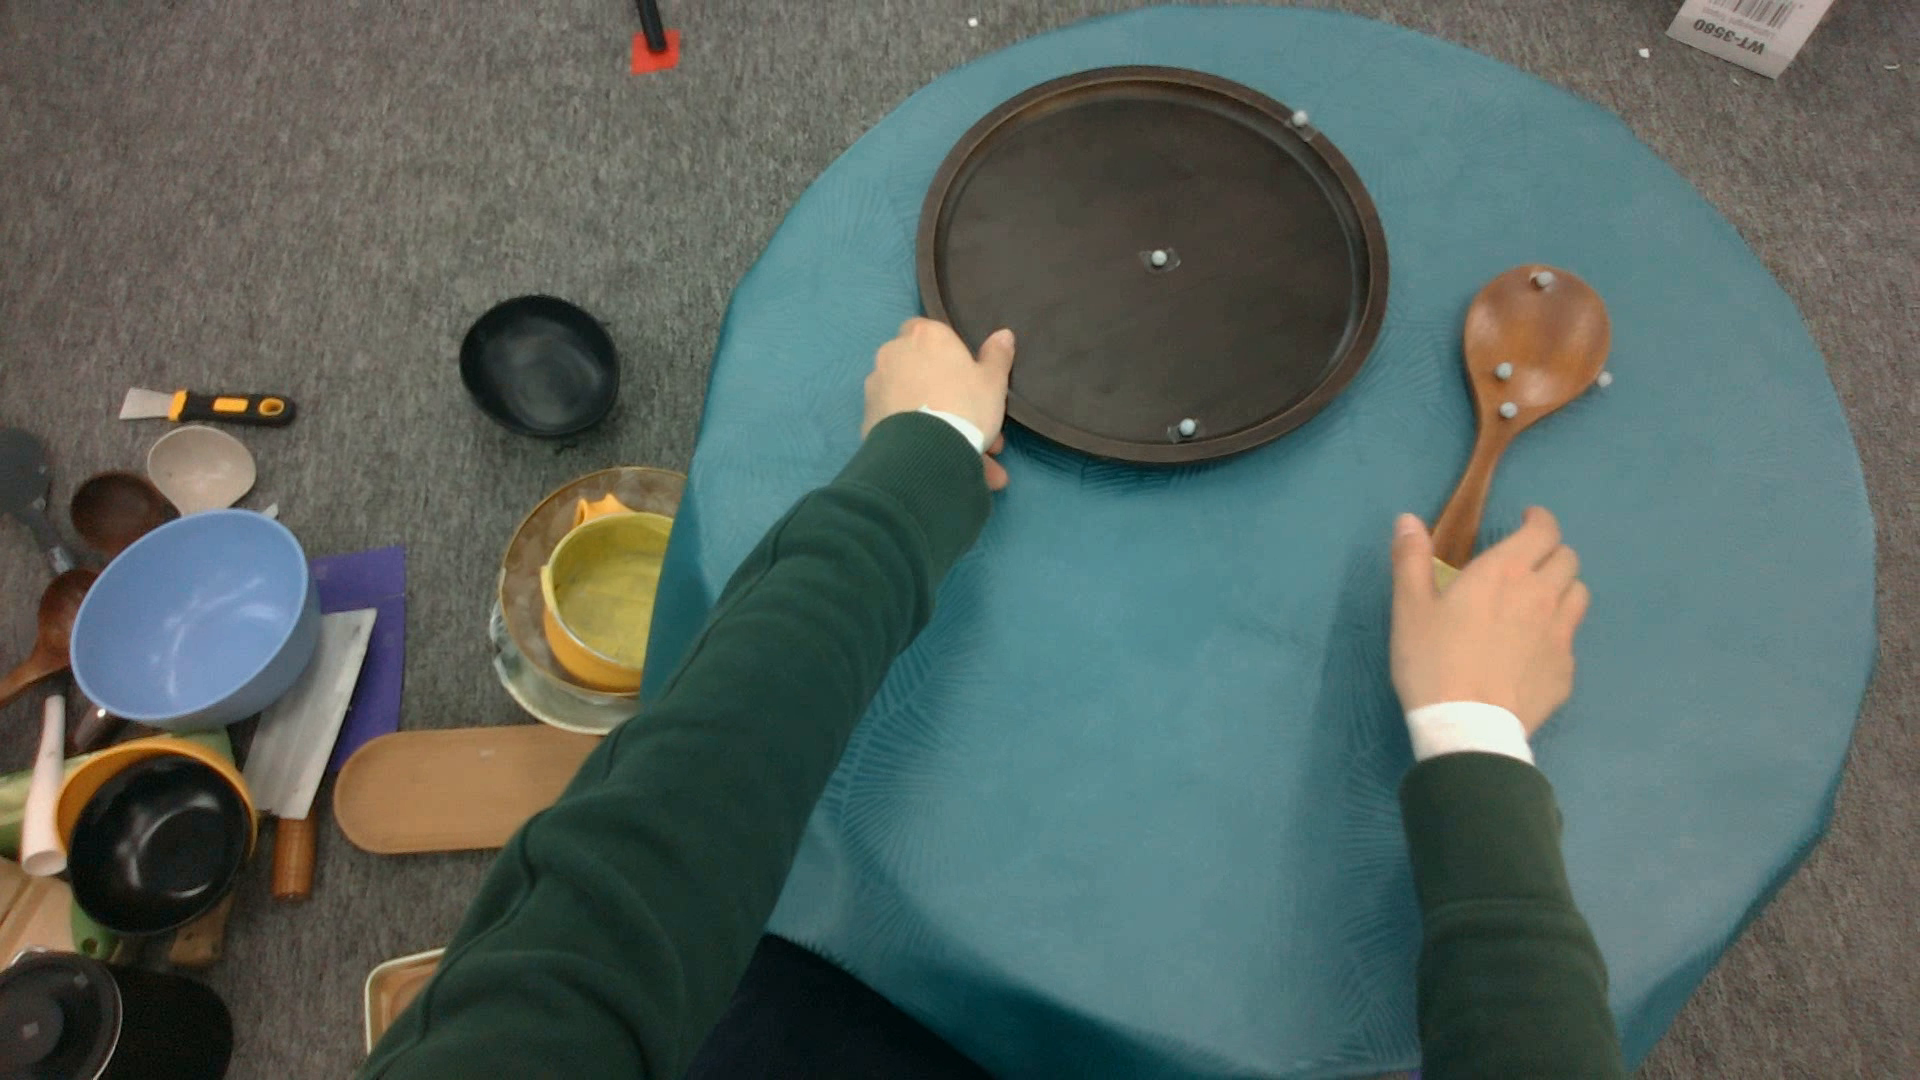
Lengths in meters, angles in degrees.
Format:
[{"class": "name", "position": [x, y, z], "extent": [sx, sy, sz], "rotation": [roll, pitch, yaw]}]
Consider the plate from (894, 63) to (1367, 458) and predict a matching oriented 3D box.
[{"class": "plate", "position": [0.091, -0.155, 0.744], "extent": [0.255, 0.029, 0.255], "rotation": [0, 64, -1]}]

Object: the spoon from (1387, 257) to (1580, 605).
[{"class": "spoon", "position": [0.262, -0.059, 0.707], "extent": [0.075, 0.017, 0.216], "rotation": [24, 67, 9]}]
